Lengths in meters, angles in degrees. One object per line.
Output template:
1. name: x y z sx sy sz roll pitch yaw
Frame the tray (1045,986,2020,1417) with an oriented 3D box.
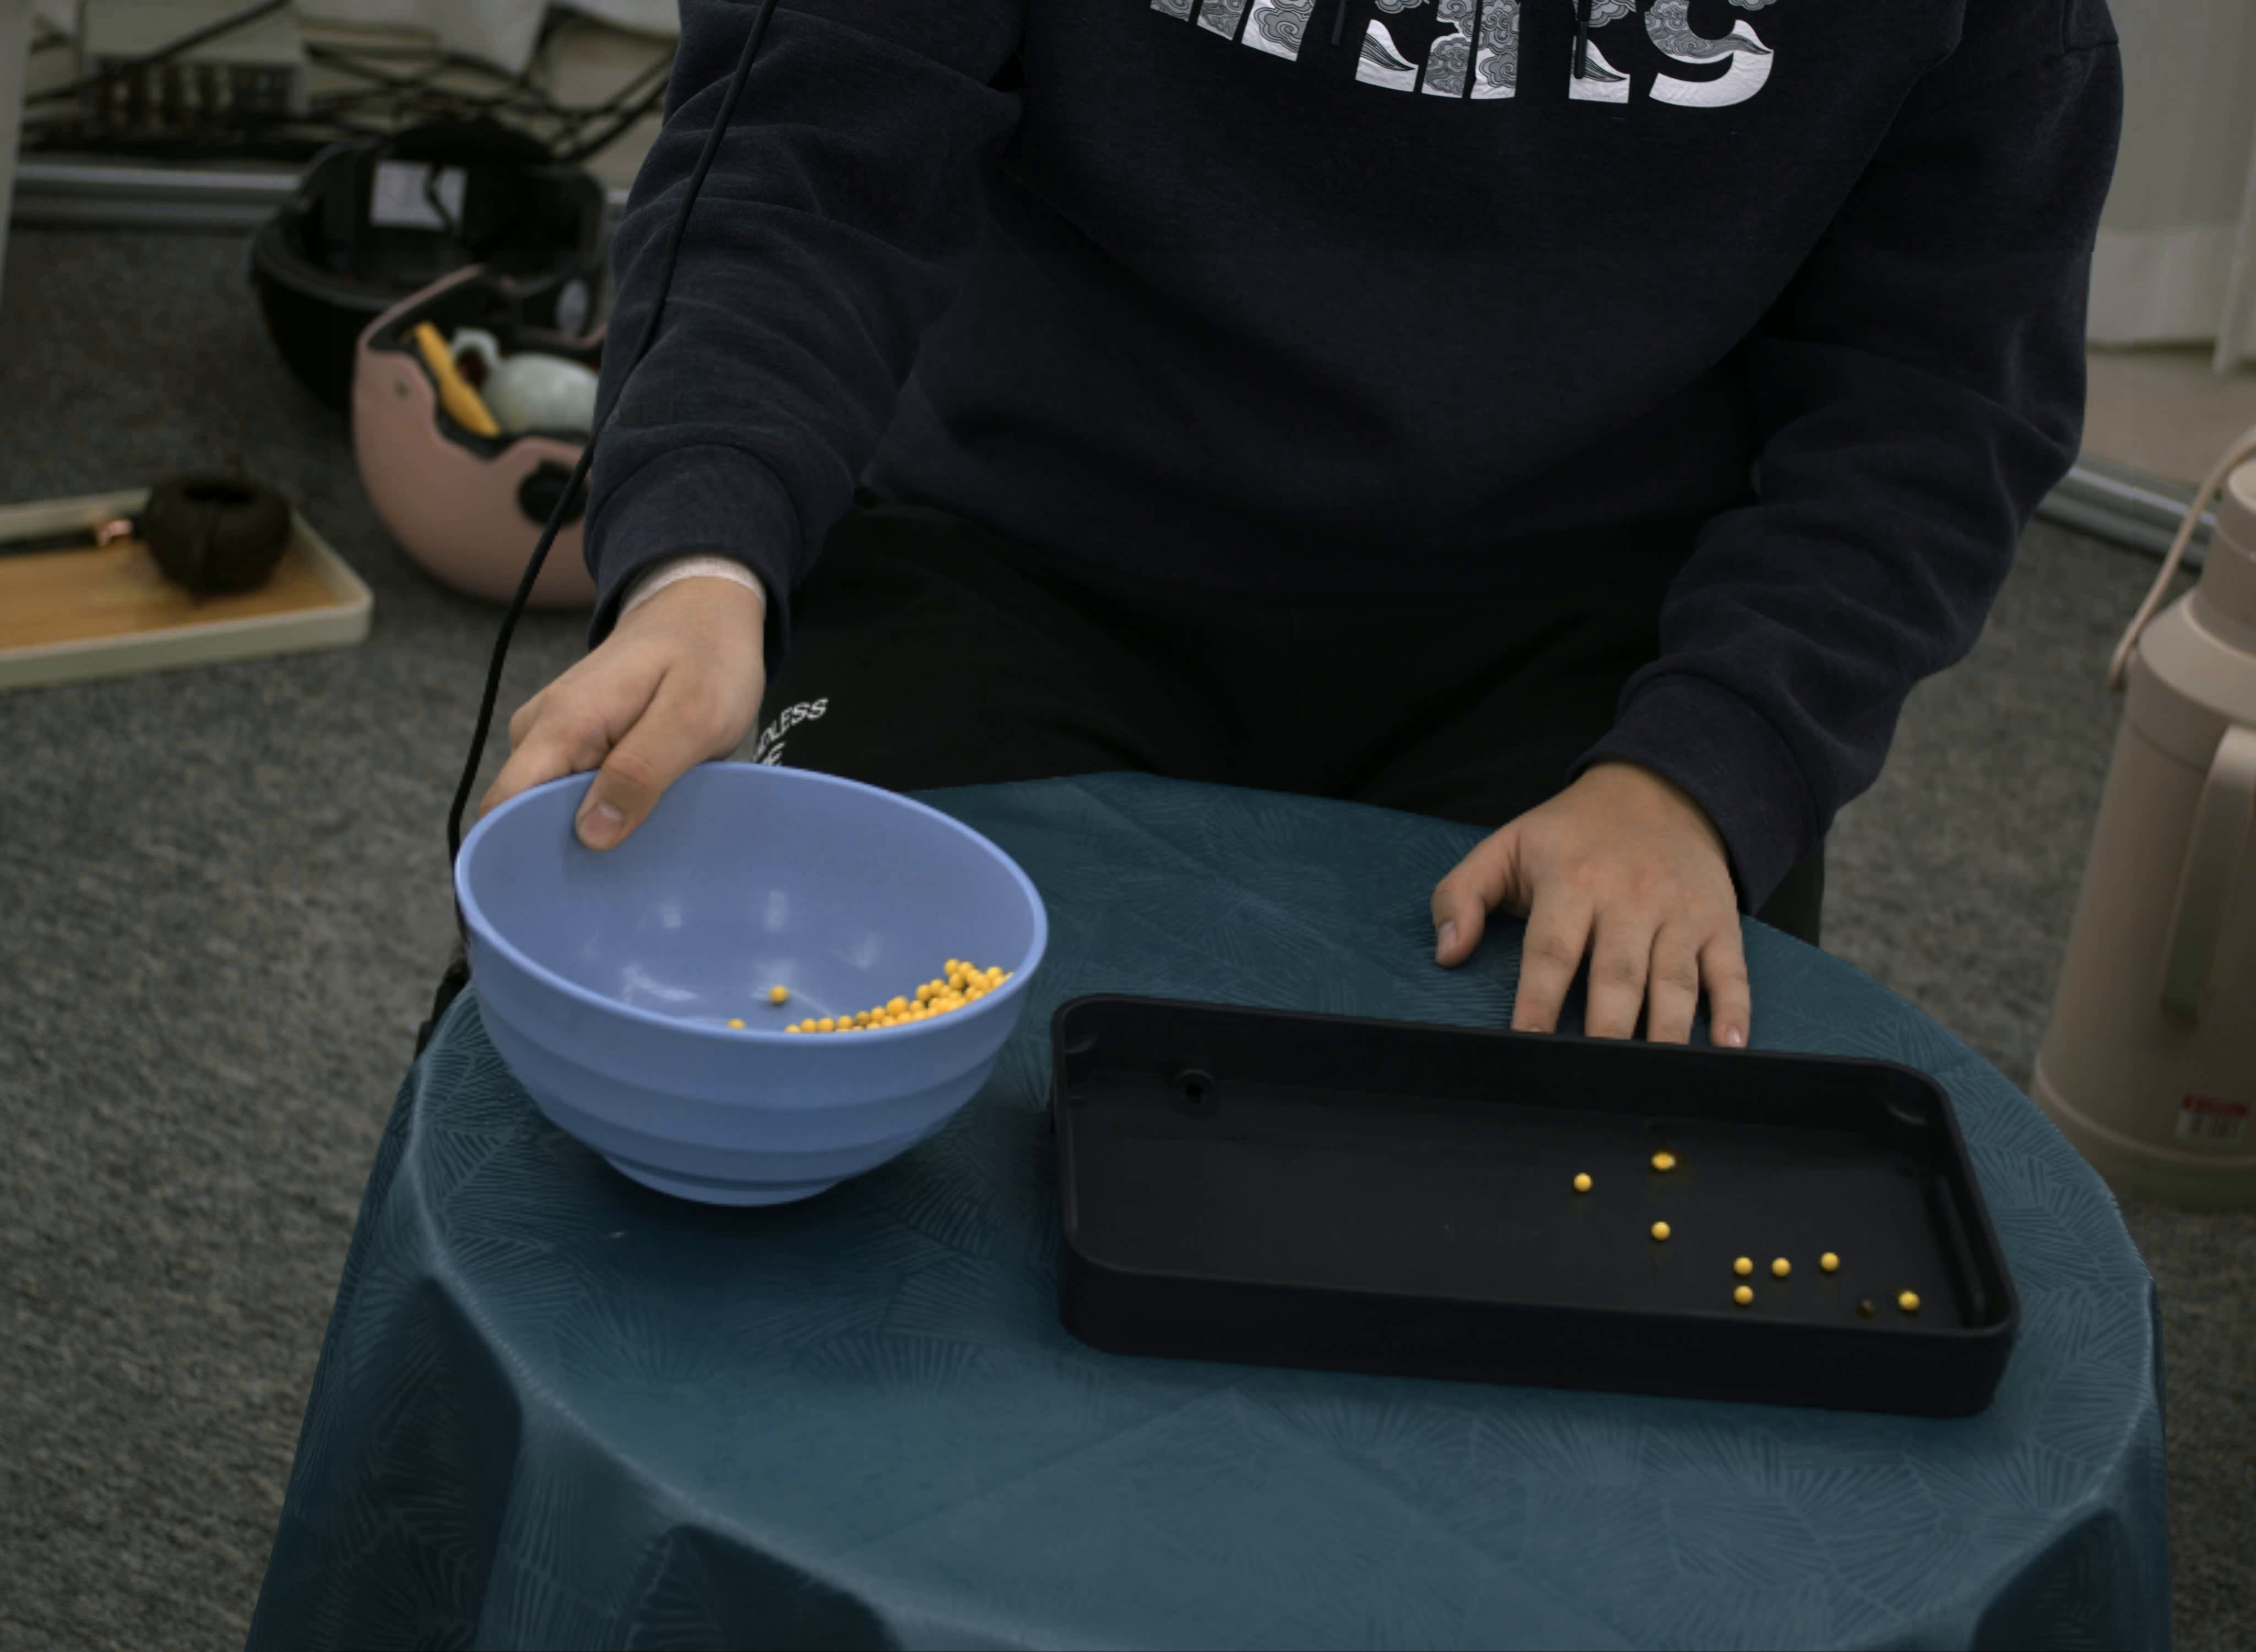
1. tray: 0.129 0.125 1.793 0.317 0.037 0.185 5 27 -4

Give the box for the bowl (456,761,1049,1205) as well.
1. bowl: -0.128 0.062 1.772 0.196 0.095 0.197 6 26 -3
